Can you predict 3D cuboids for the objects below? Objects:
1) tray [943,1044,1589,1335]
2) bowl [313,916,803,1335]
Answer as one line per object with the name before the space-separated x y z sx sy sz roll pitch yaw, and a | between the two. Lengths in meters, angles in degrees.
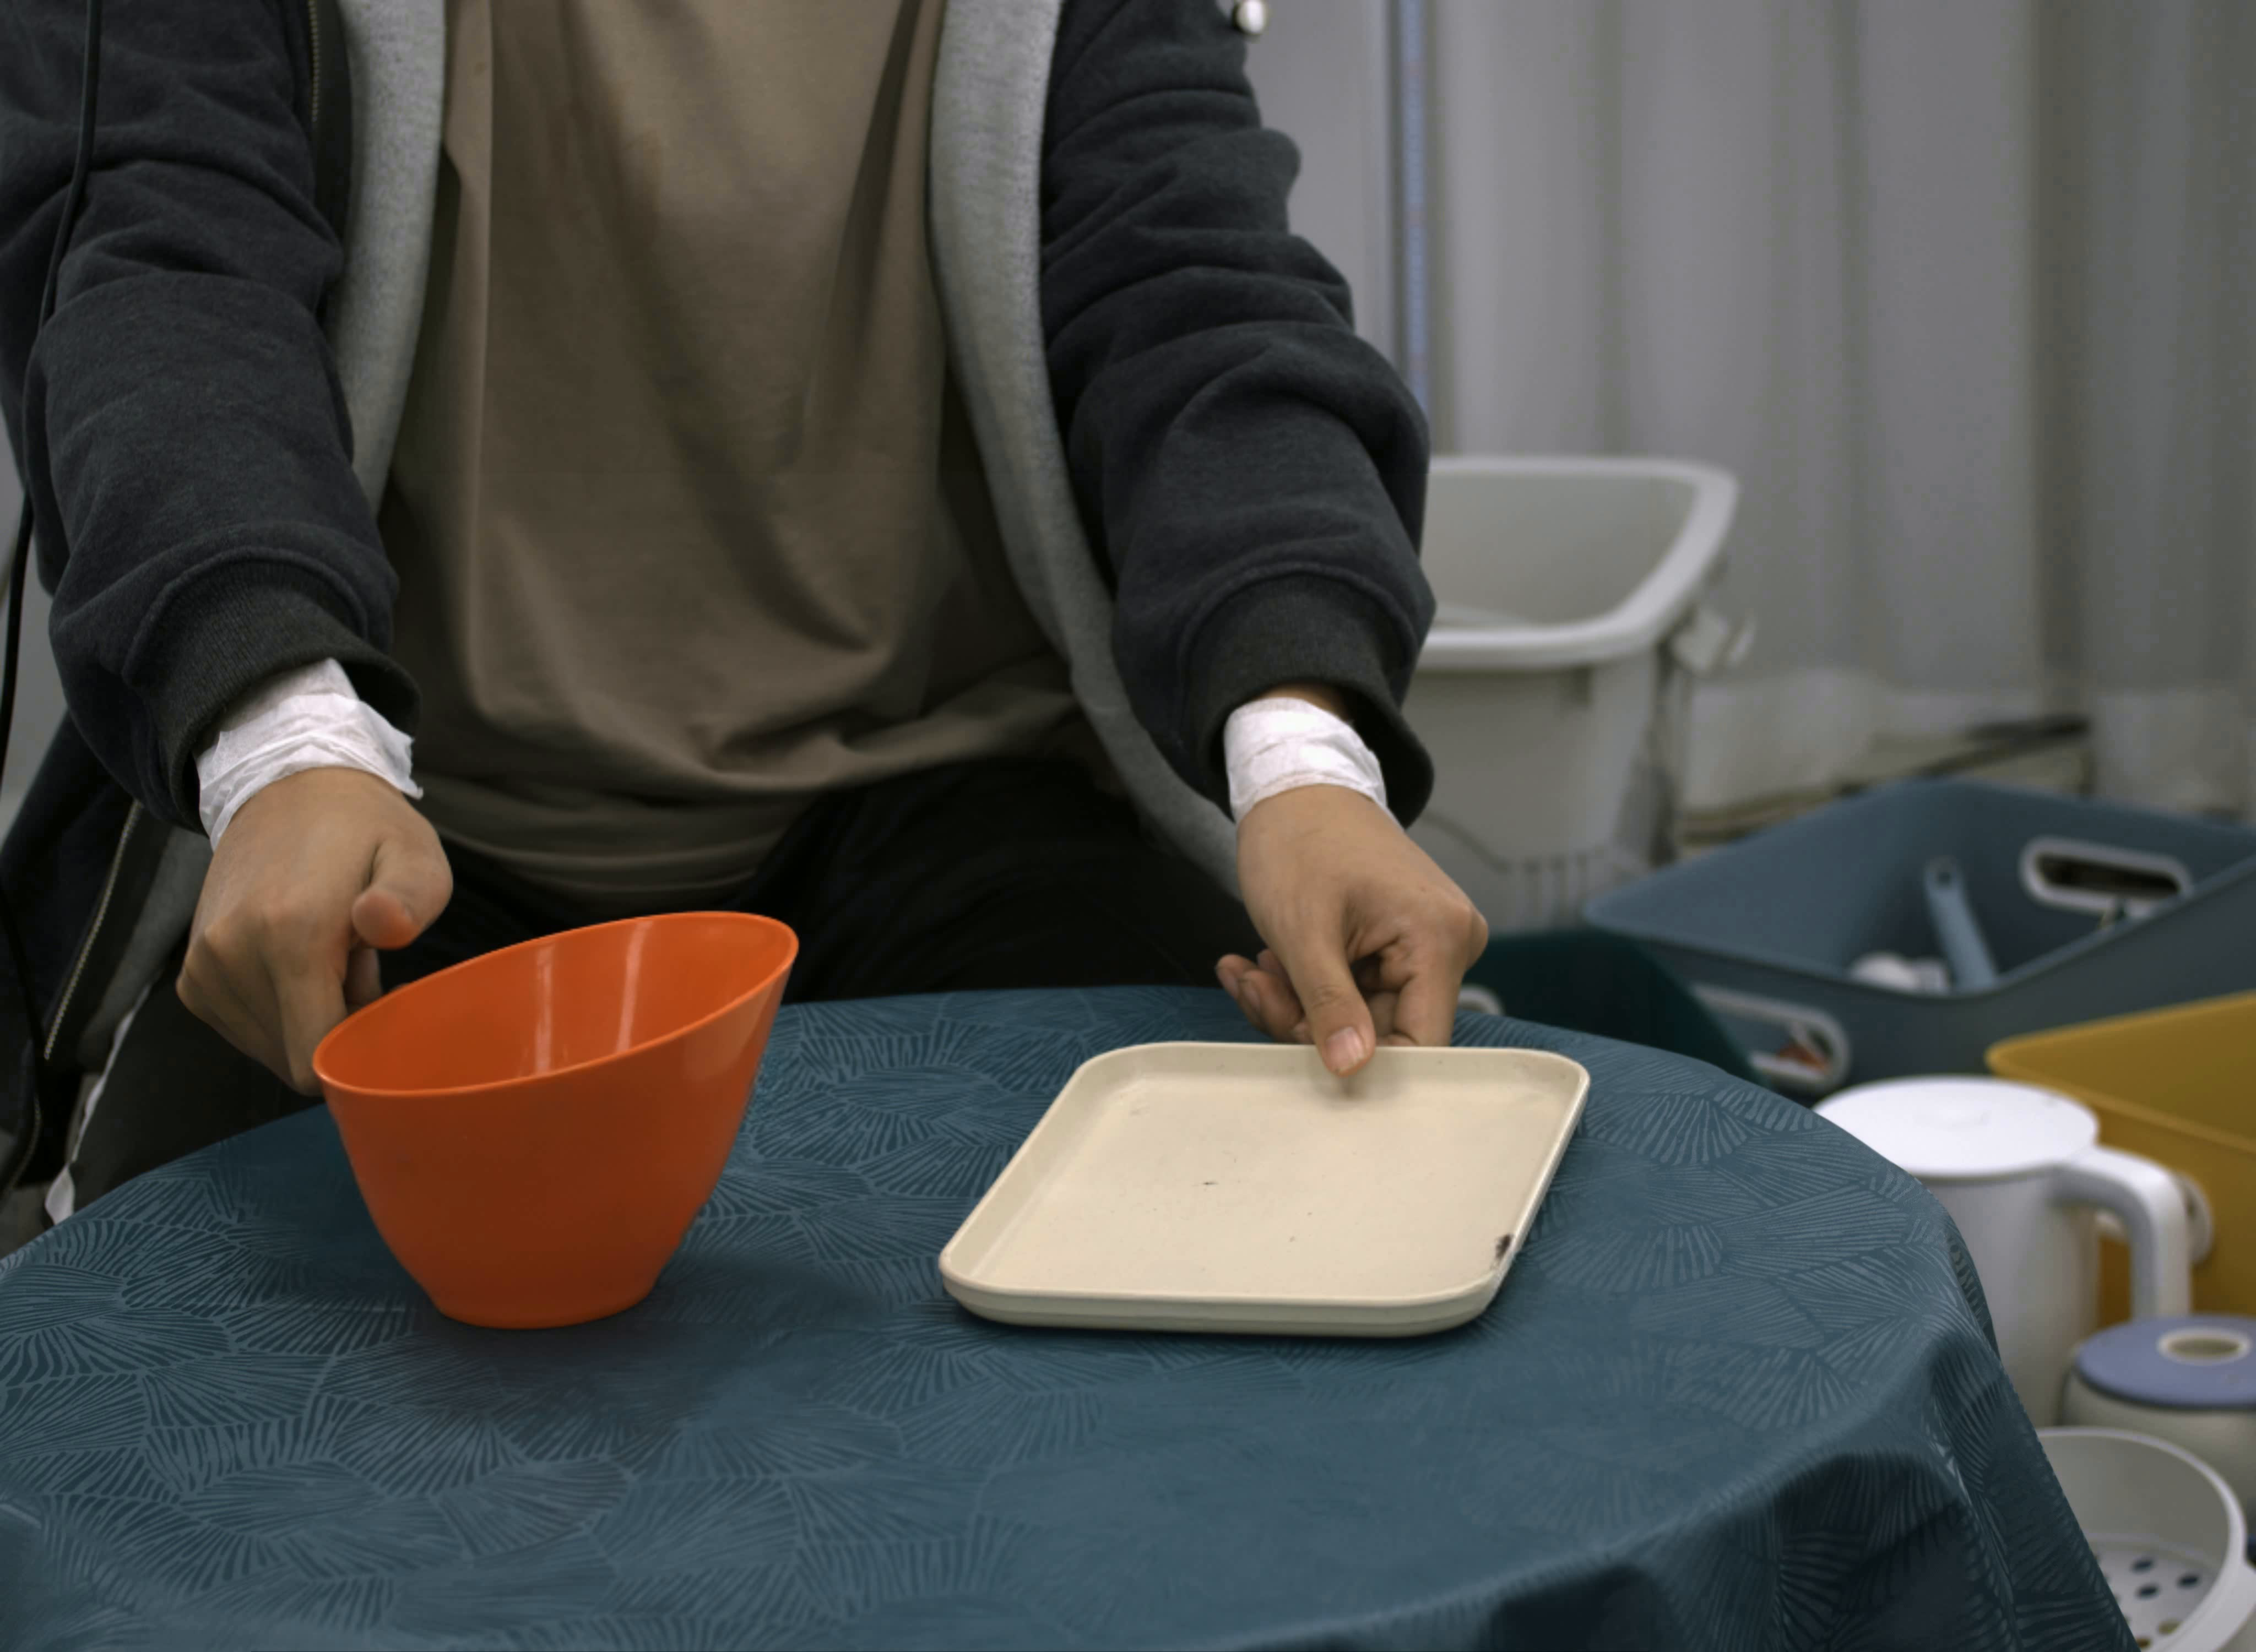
tray | 0.047 0.111 1.686 0.171 0.017 0.241 0 15 13
bowl | -0.168 0.092 1.639 0.147 0.104 0.149 -2 16 0
